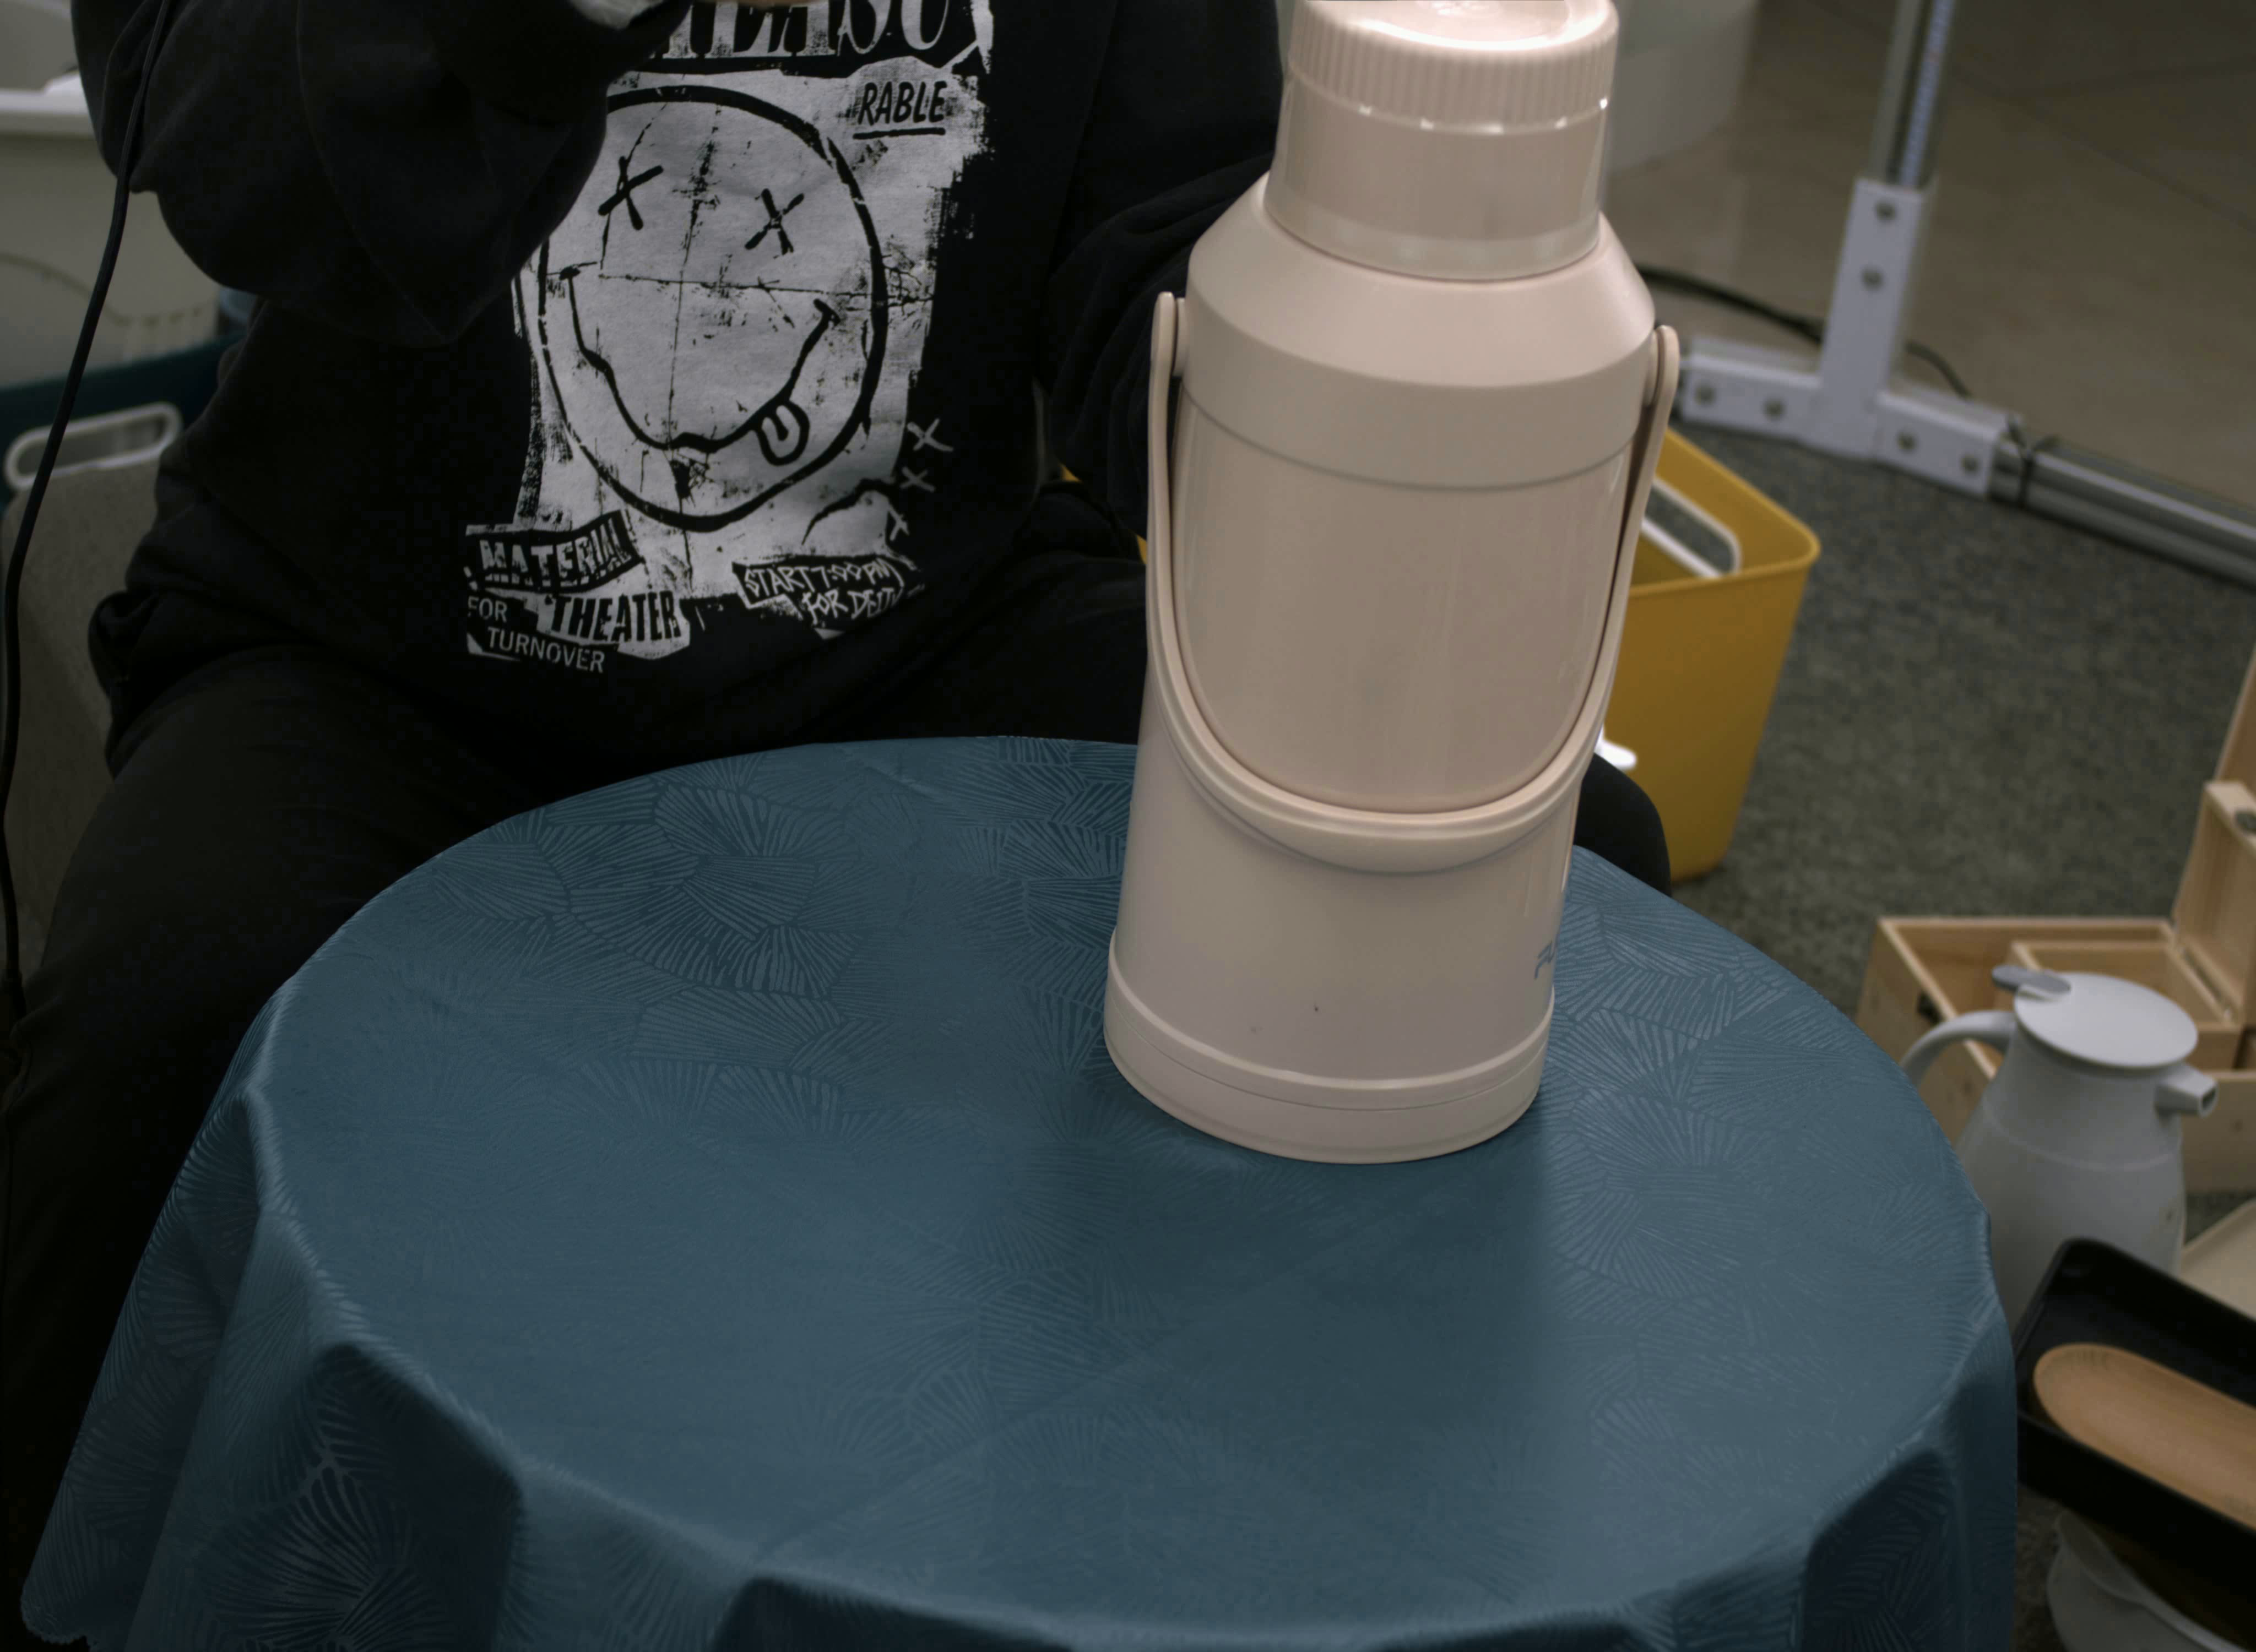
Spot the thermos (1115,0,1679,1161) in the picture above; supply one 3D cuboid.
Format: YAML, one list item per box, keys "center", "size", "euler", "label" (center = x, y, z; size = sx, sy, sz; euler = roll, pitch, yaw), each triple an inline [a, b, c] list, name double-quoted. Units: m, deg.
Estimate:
- center: [0.090, -0.102, 1.827]
  size: [0.174, 0.405, 0.208]
  euler: [2, 29, -5]
  label: "thermos"
